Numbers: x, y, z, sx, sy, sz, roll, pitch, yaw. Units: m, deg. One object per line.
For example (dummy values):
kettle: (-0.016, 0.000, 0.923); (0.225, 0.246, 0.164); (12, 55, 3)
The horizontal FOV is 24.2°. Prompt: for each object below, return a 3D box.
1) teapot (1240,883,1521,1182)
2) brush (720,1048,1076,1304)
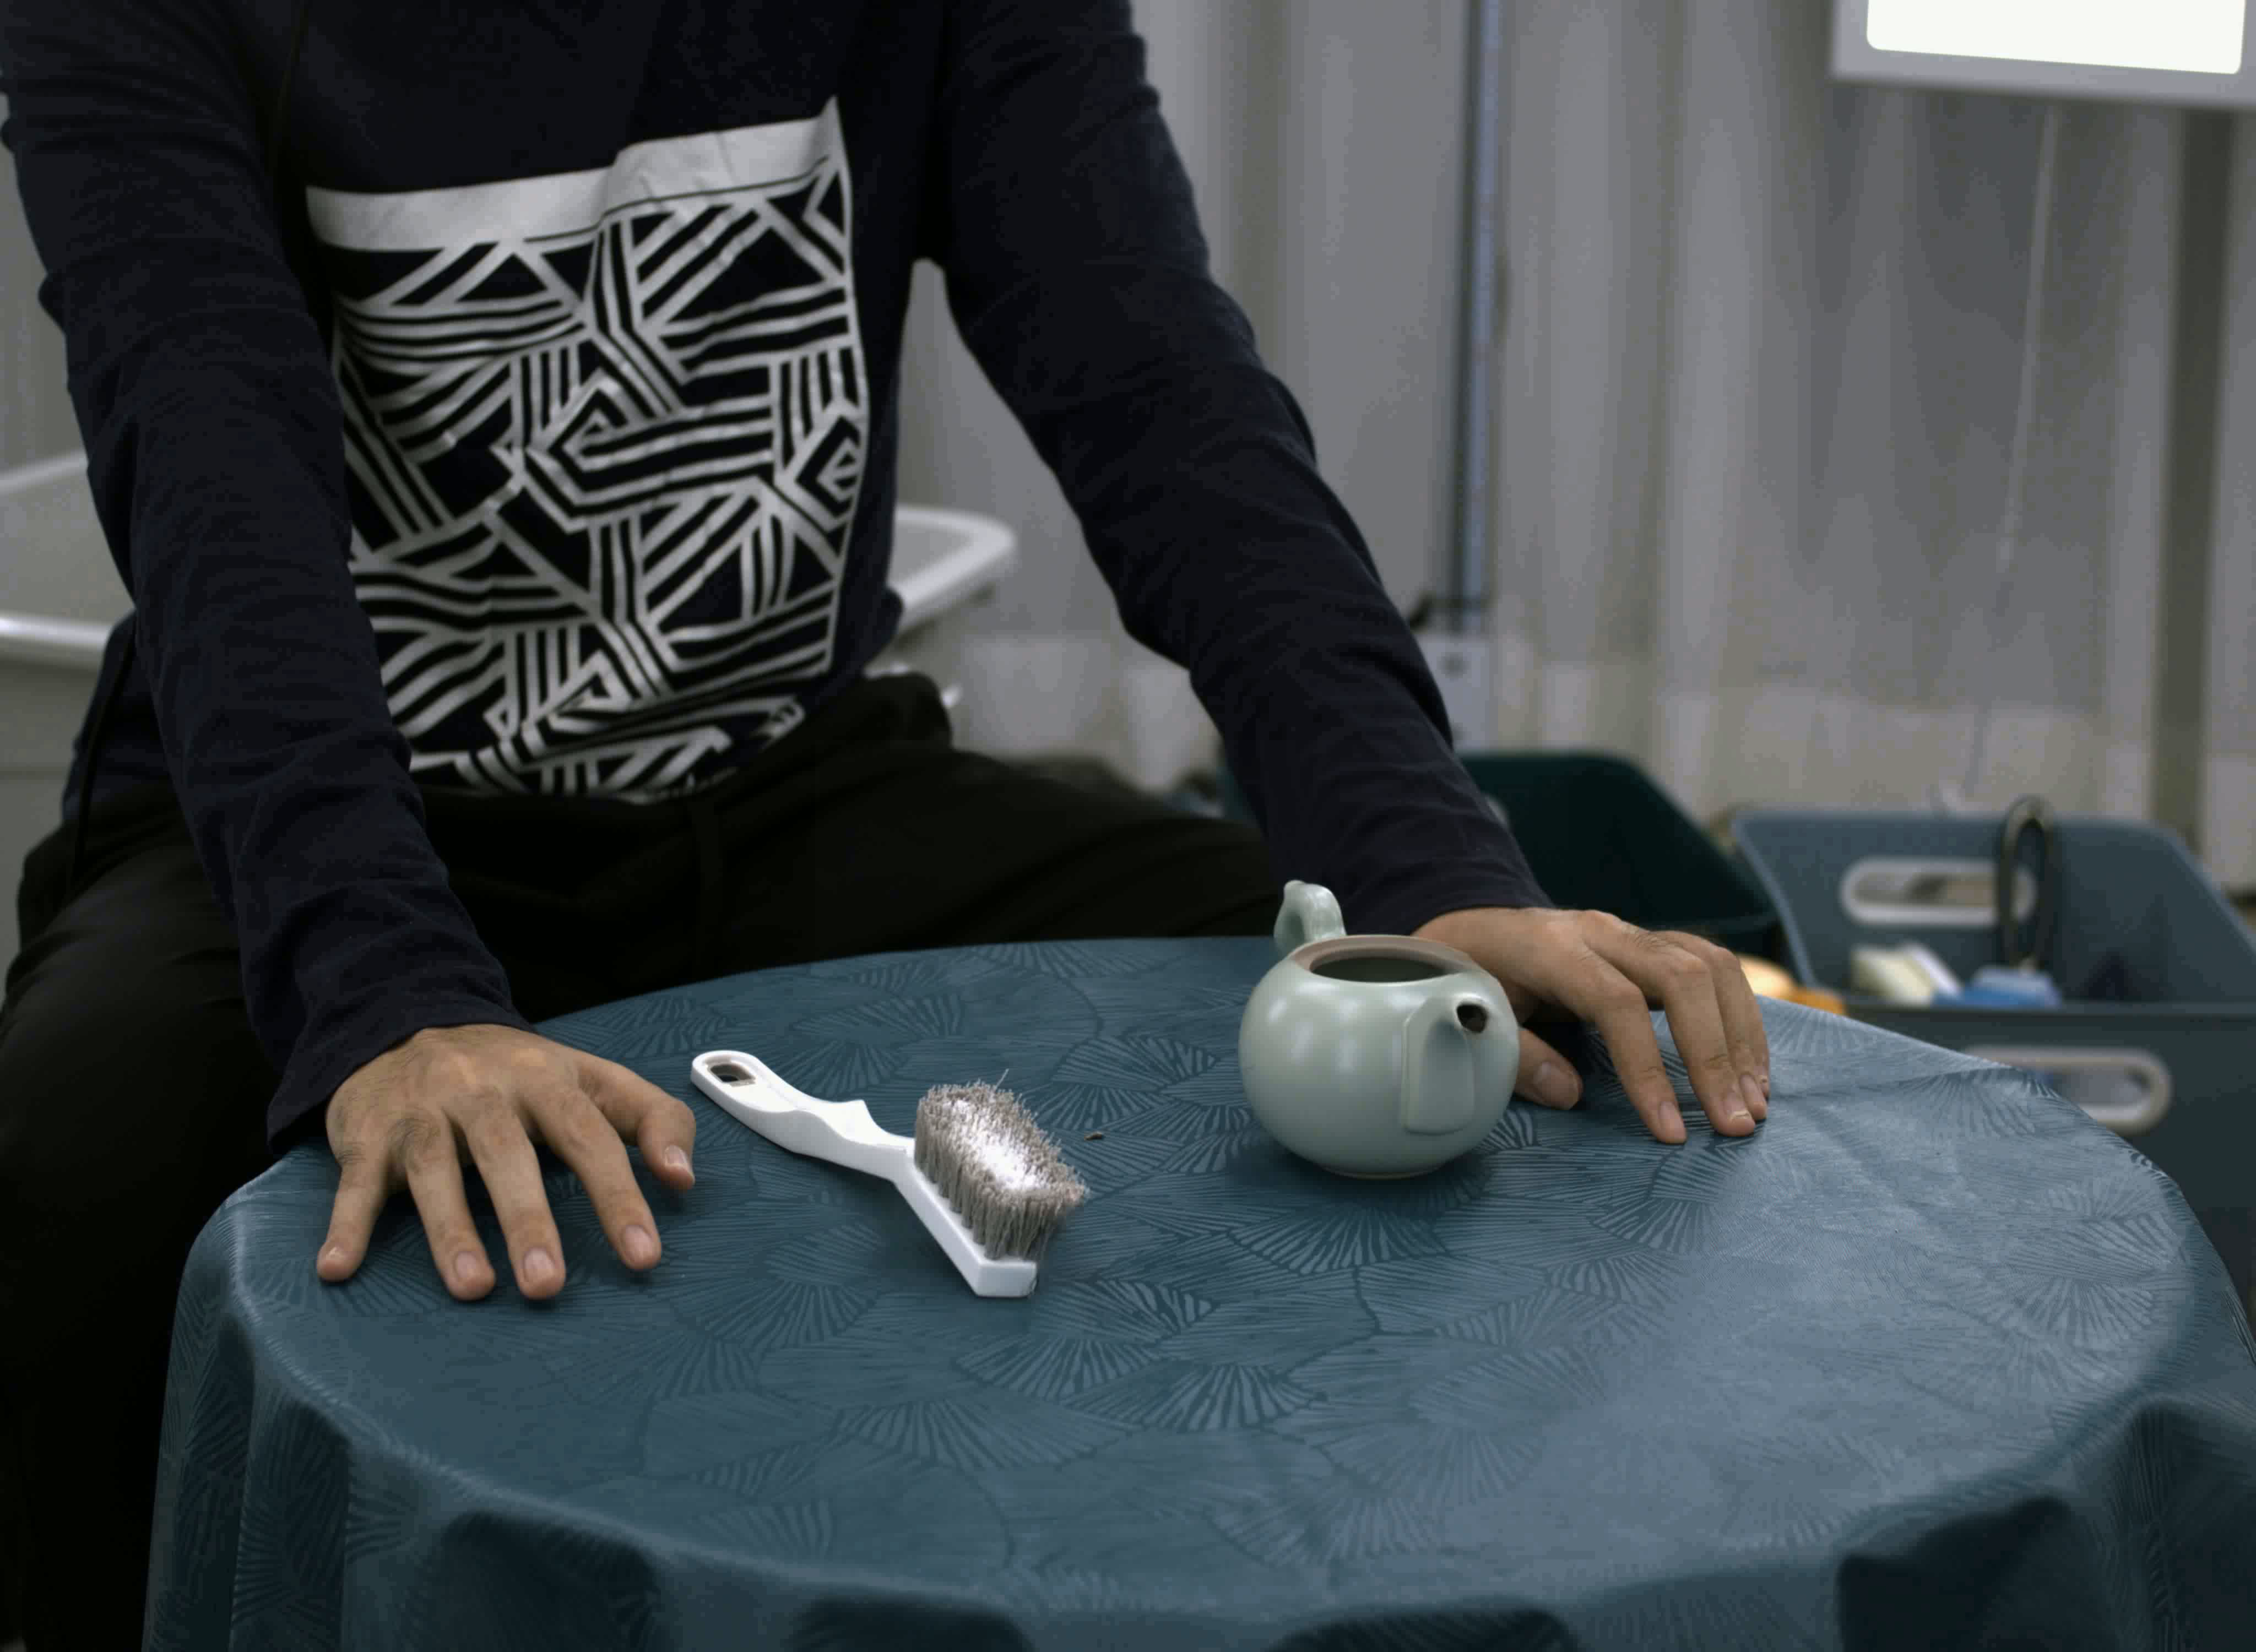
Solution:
teapot: (0.079, 0.070, 1.648); (0.088, 0.075, 0.142); (-6, 18, -18)
brush: (-0.077, 0.088, 1.623); (0.034, 0.050, 0.241); (-11, 19, -22)
